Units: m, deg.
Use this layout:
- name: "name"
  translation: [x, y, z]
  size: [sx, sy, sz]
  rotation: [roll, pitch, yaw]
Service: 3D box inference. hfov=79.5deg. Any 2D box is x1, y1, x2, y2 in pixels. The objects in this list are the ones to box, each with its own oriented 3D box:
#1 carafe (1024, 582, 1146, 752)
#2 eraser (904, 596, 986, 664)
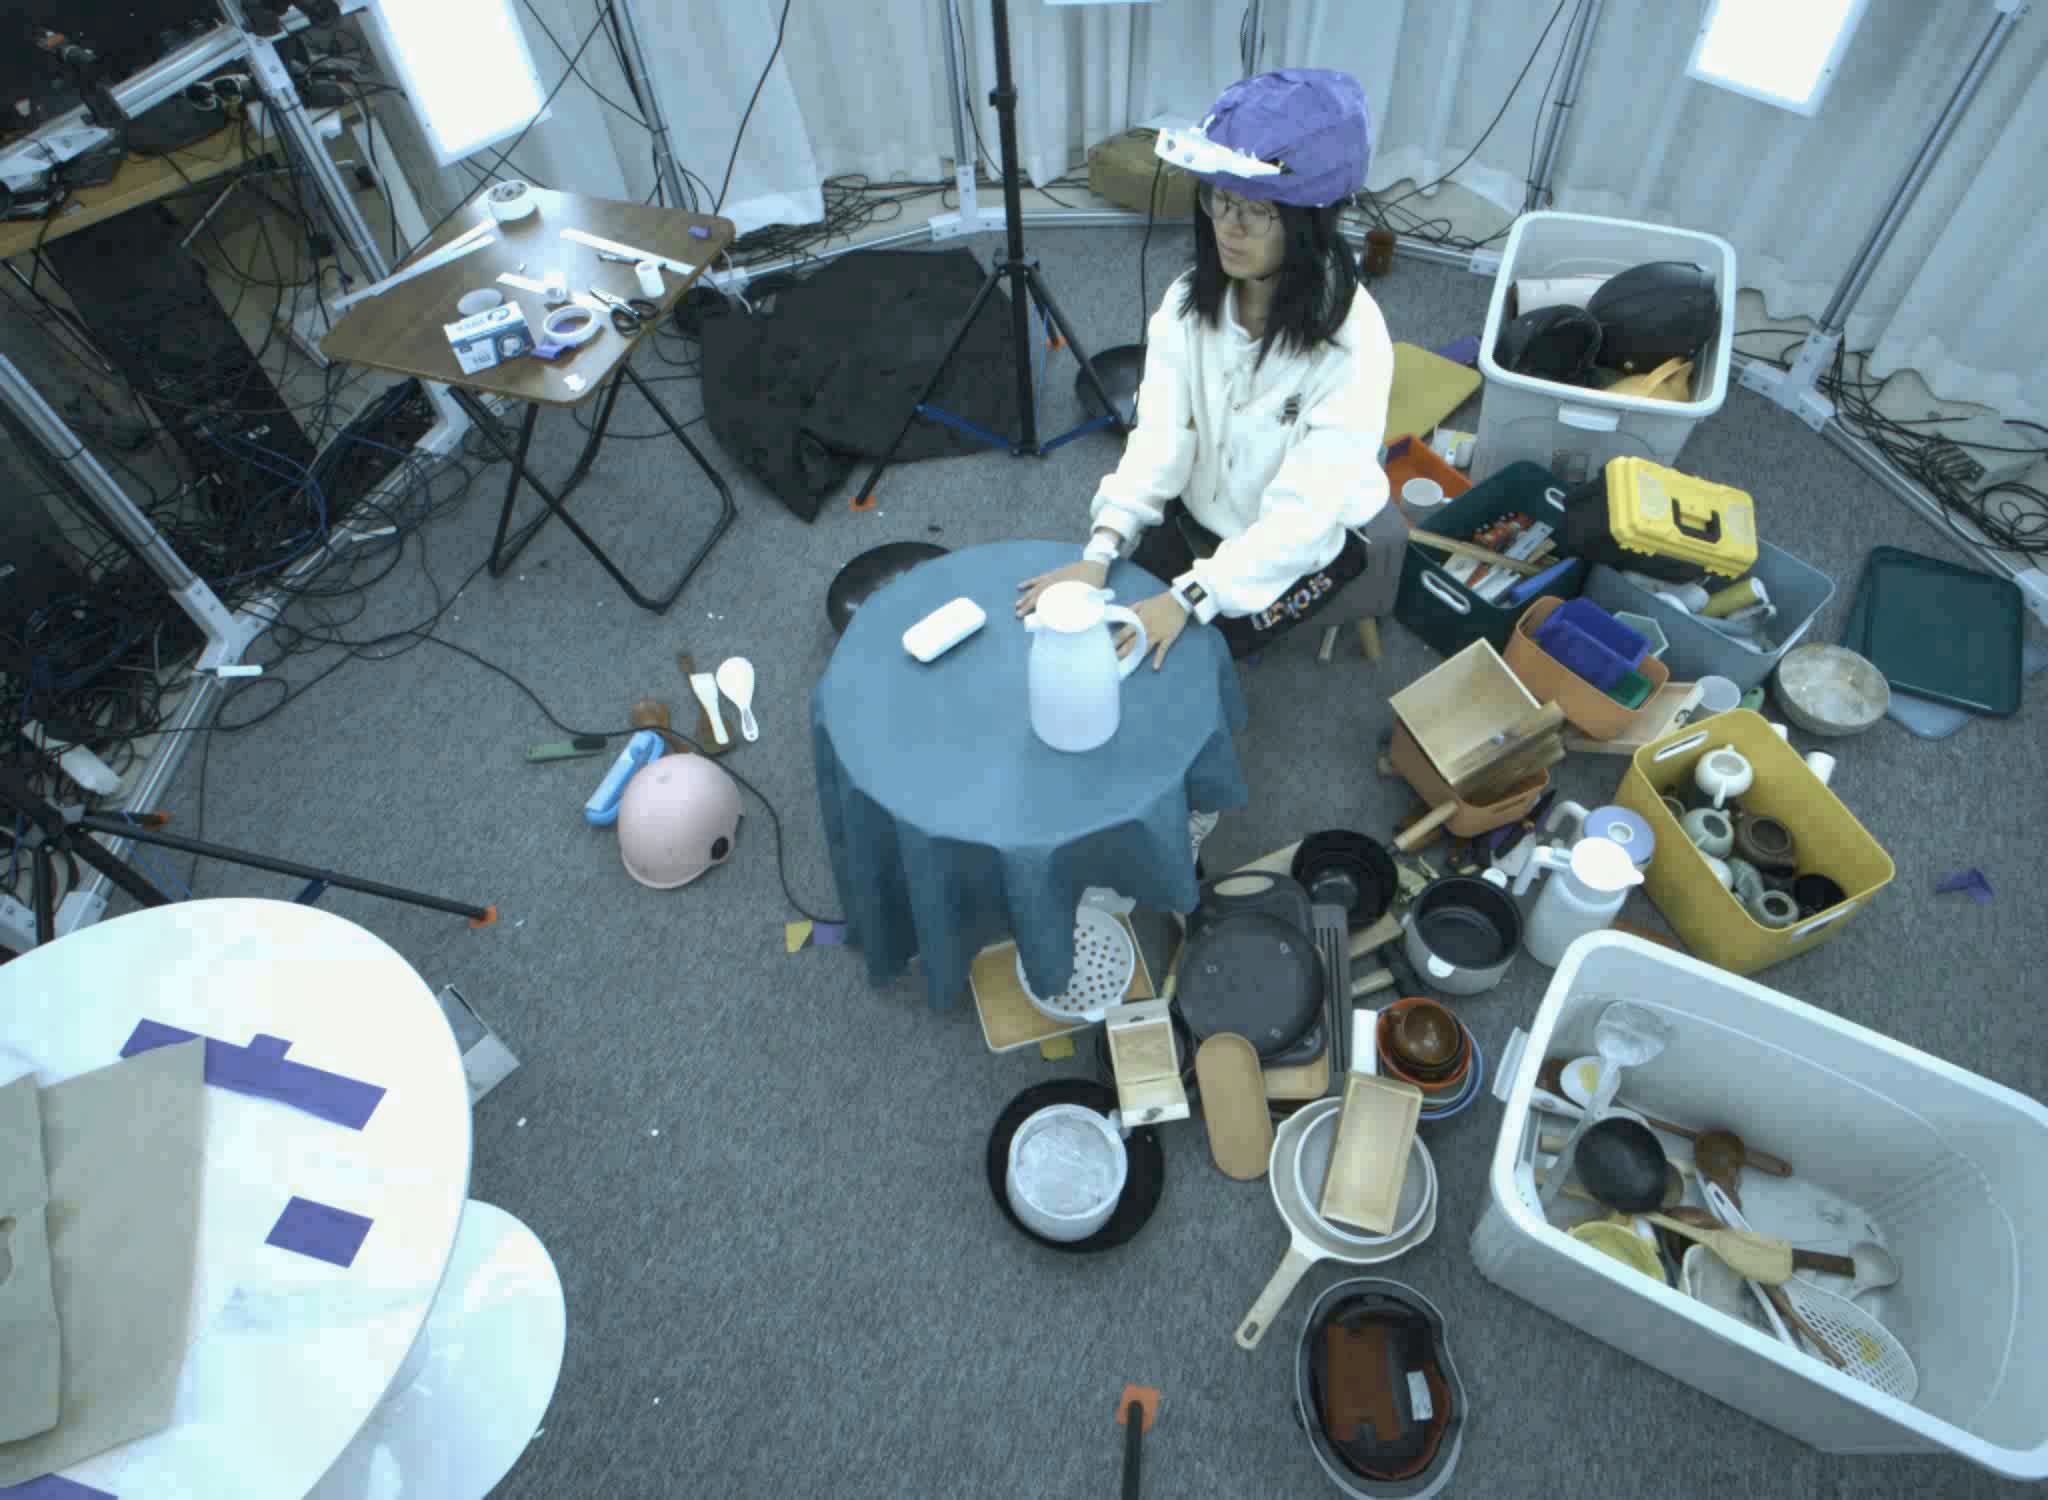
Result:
- name: "carafe"
  translation: [0.087, -0.126, 1.721]
  size: [0.168, 0.251, 0.130]
  rotation: [-13, 54, -6]
- name: "eraser"
  translation: [-0.122, -0.187, 1.904]
  size: [0.132, 0.035, 0.062]
  rotation: [-36, 64, -20]
